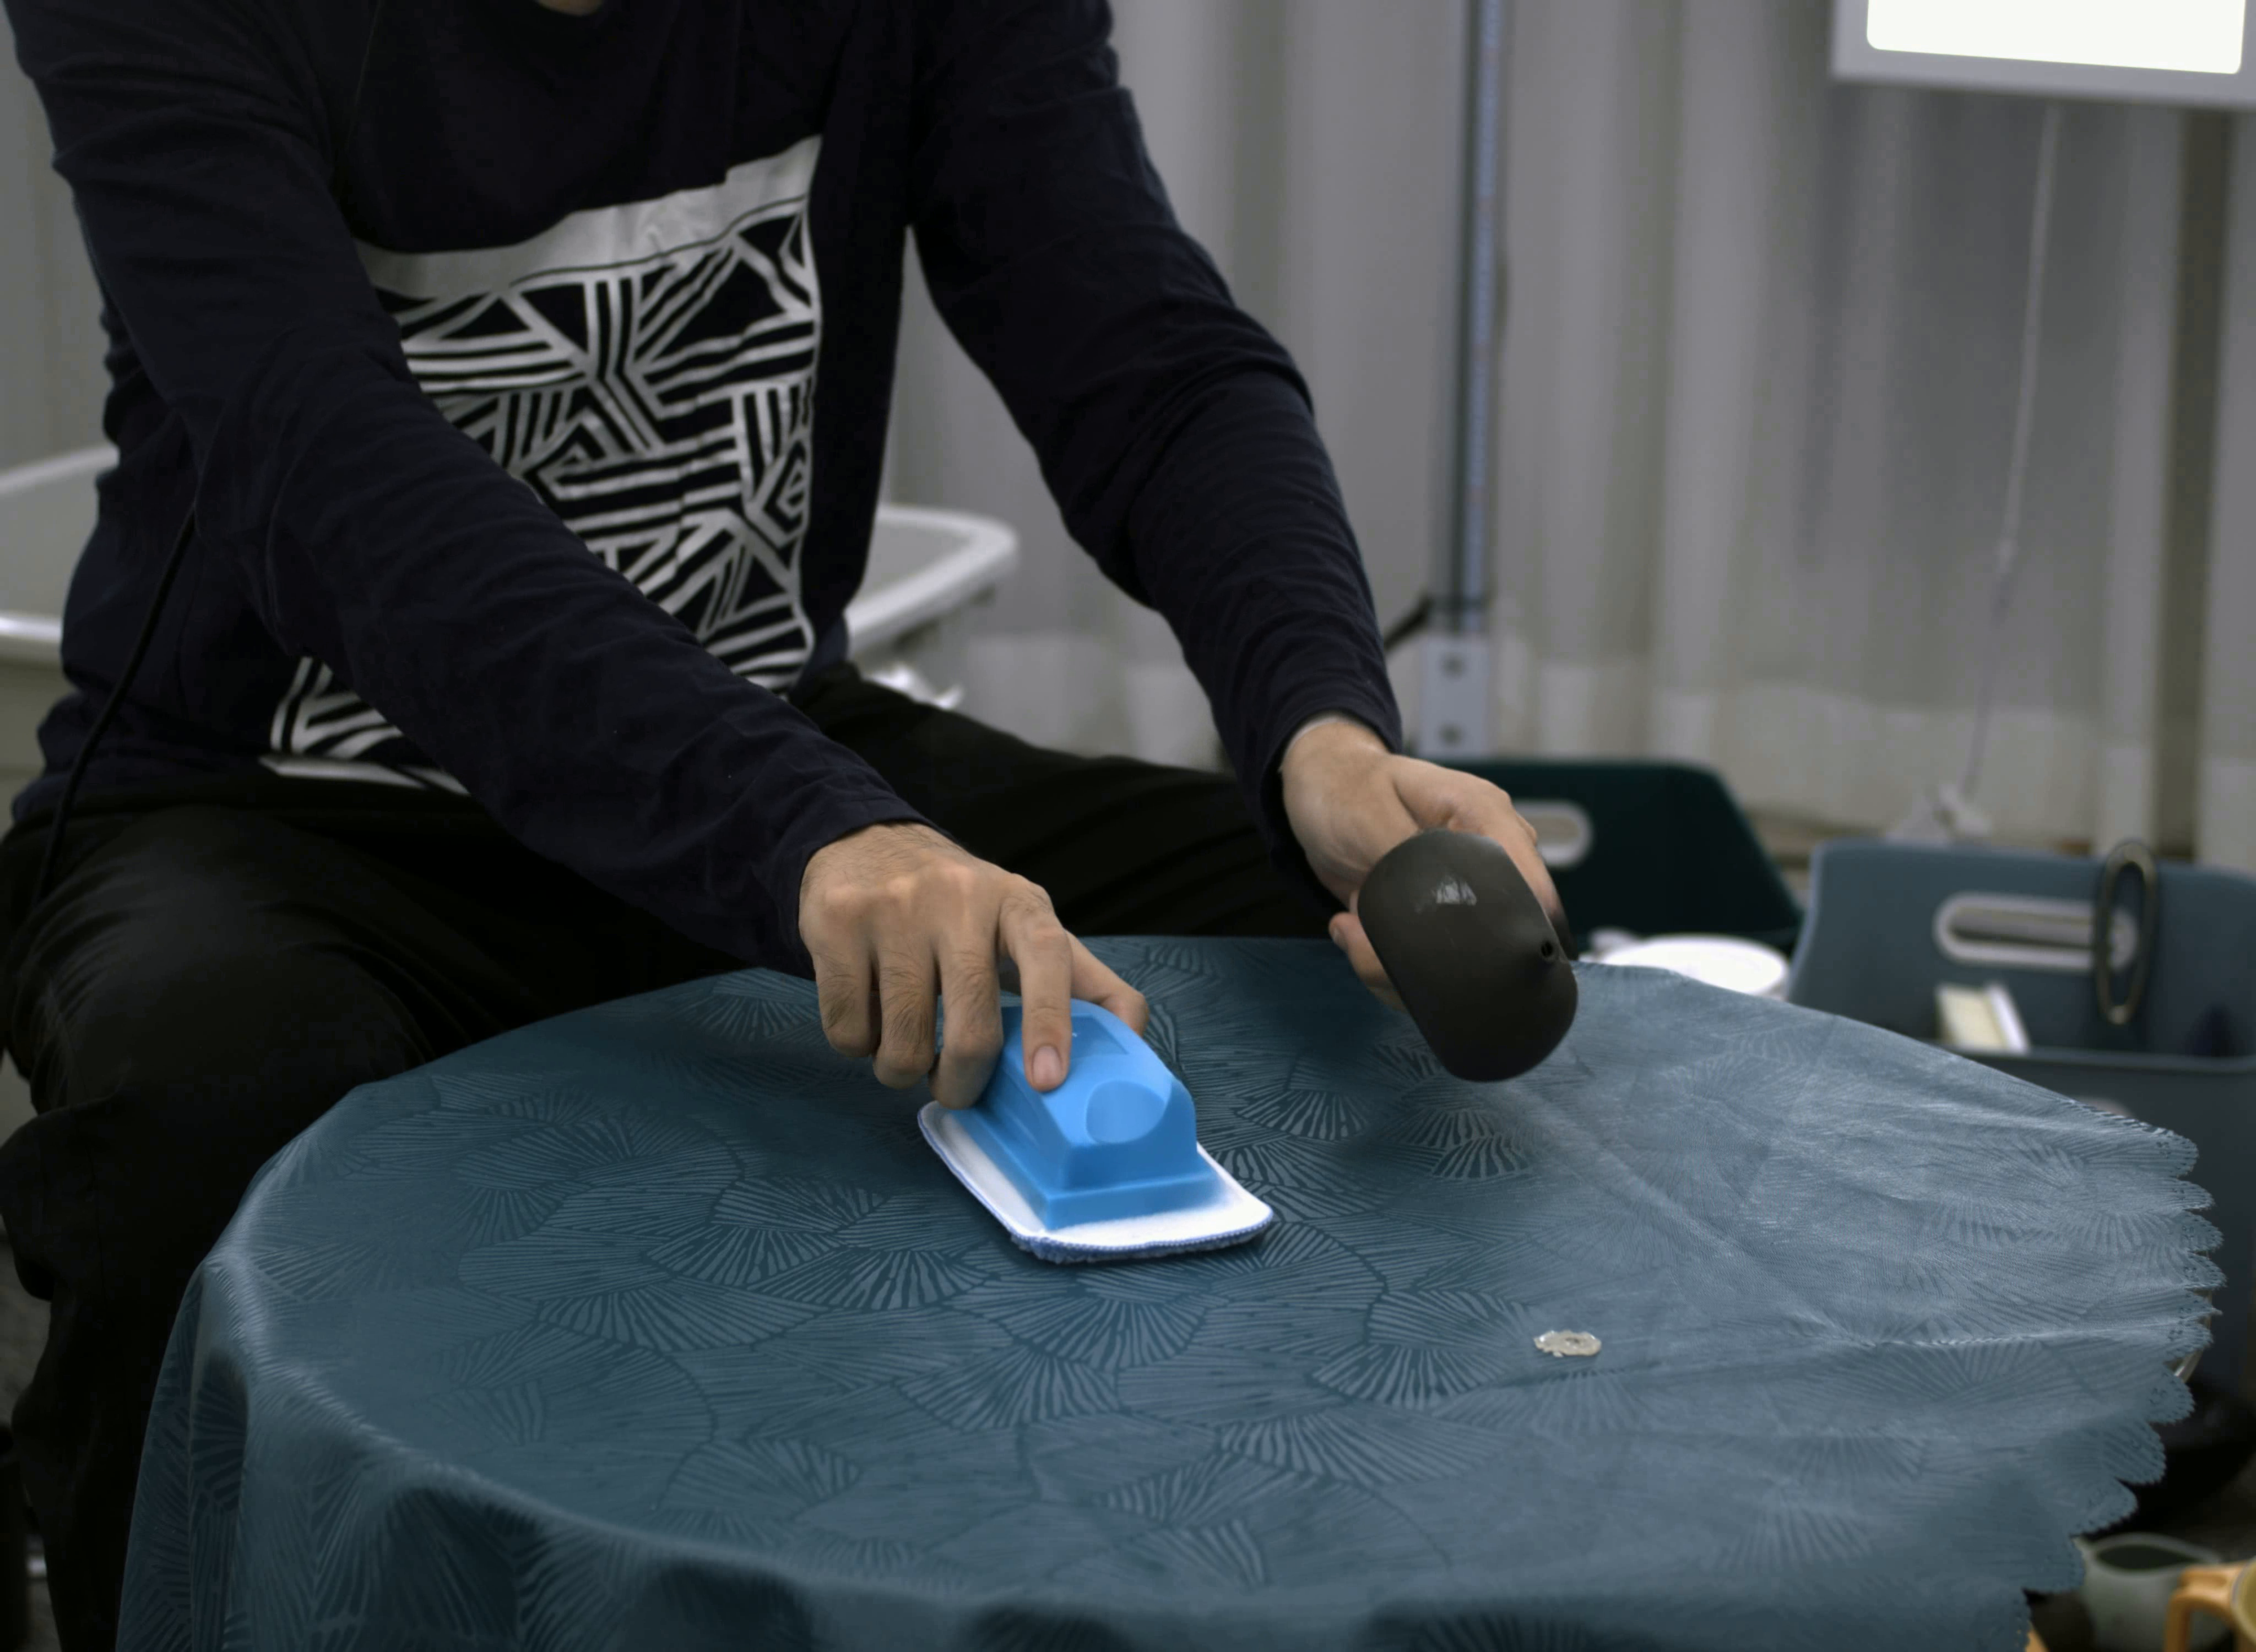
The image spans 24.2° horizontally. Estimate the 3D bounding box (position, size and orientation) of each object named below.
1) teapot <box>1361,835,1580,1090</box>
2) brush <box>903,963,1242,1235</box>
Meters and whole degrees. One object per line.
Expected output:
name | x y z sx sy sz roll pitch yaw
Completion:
teapot | 0.108 0.040 1.669 0.053 0.083 0.113 -28 8 2
brush | -0.016 0.081 1.622 0.084 0.056 0.142 -1 19 -16
